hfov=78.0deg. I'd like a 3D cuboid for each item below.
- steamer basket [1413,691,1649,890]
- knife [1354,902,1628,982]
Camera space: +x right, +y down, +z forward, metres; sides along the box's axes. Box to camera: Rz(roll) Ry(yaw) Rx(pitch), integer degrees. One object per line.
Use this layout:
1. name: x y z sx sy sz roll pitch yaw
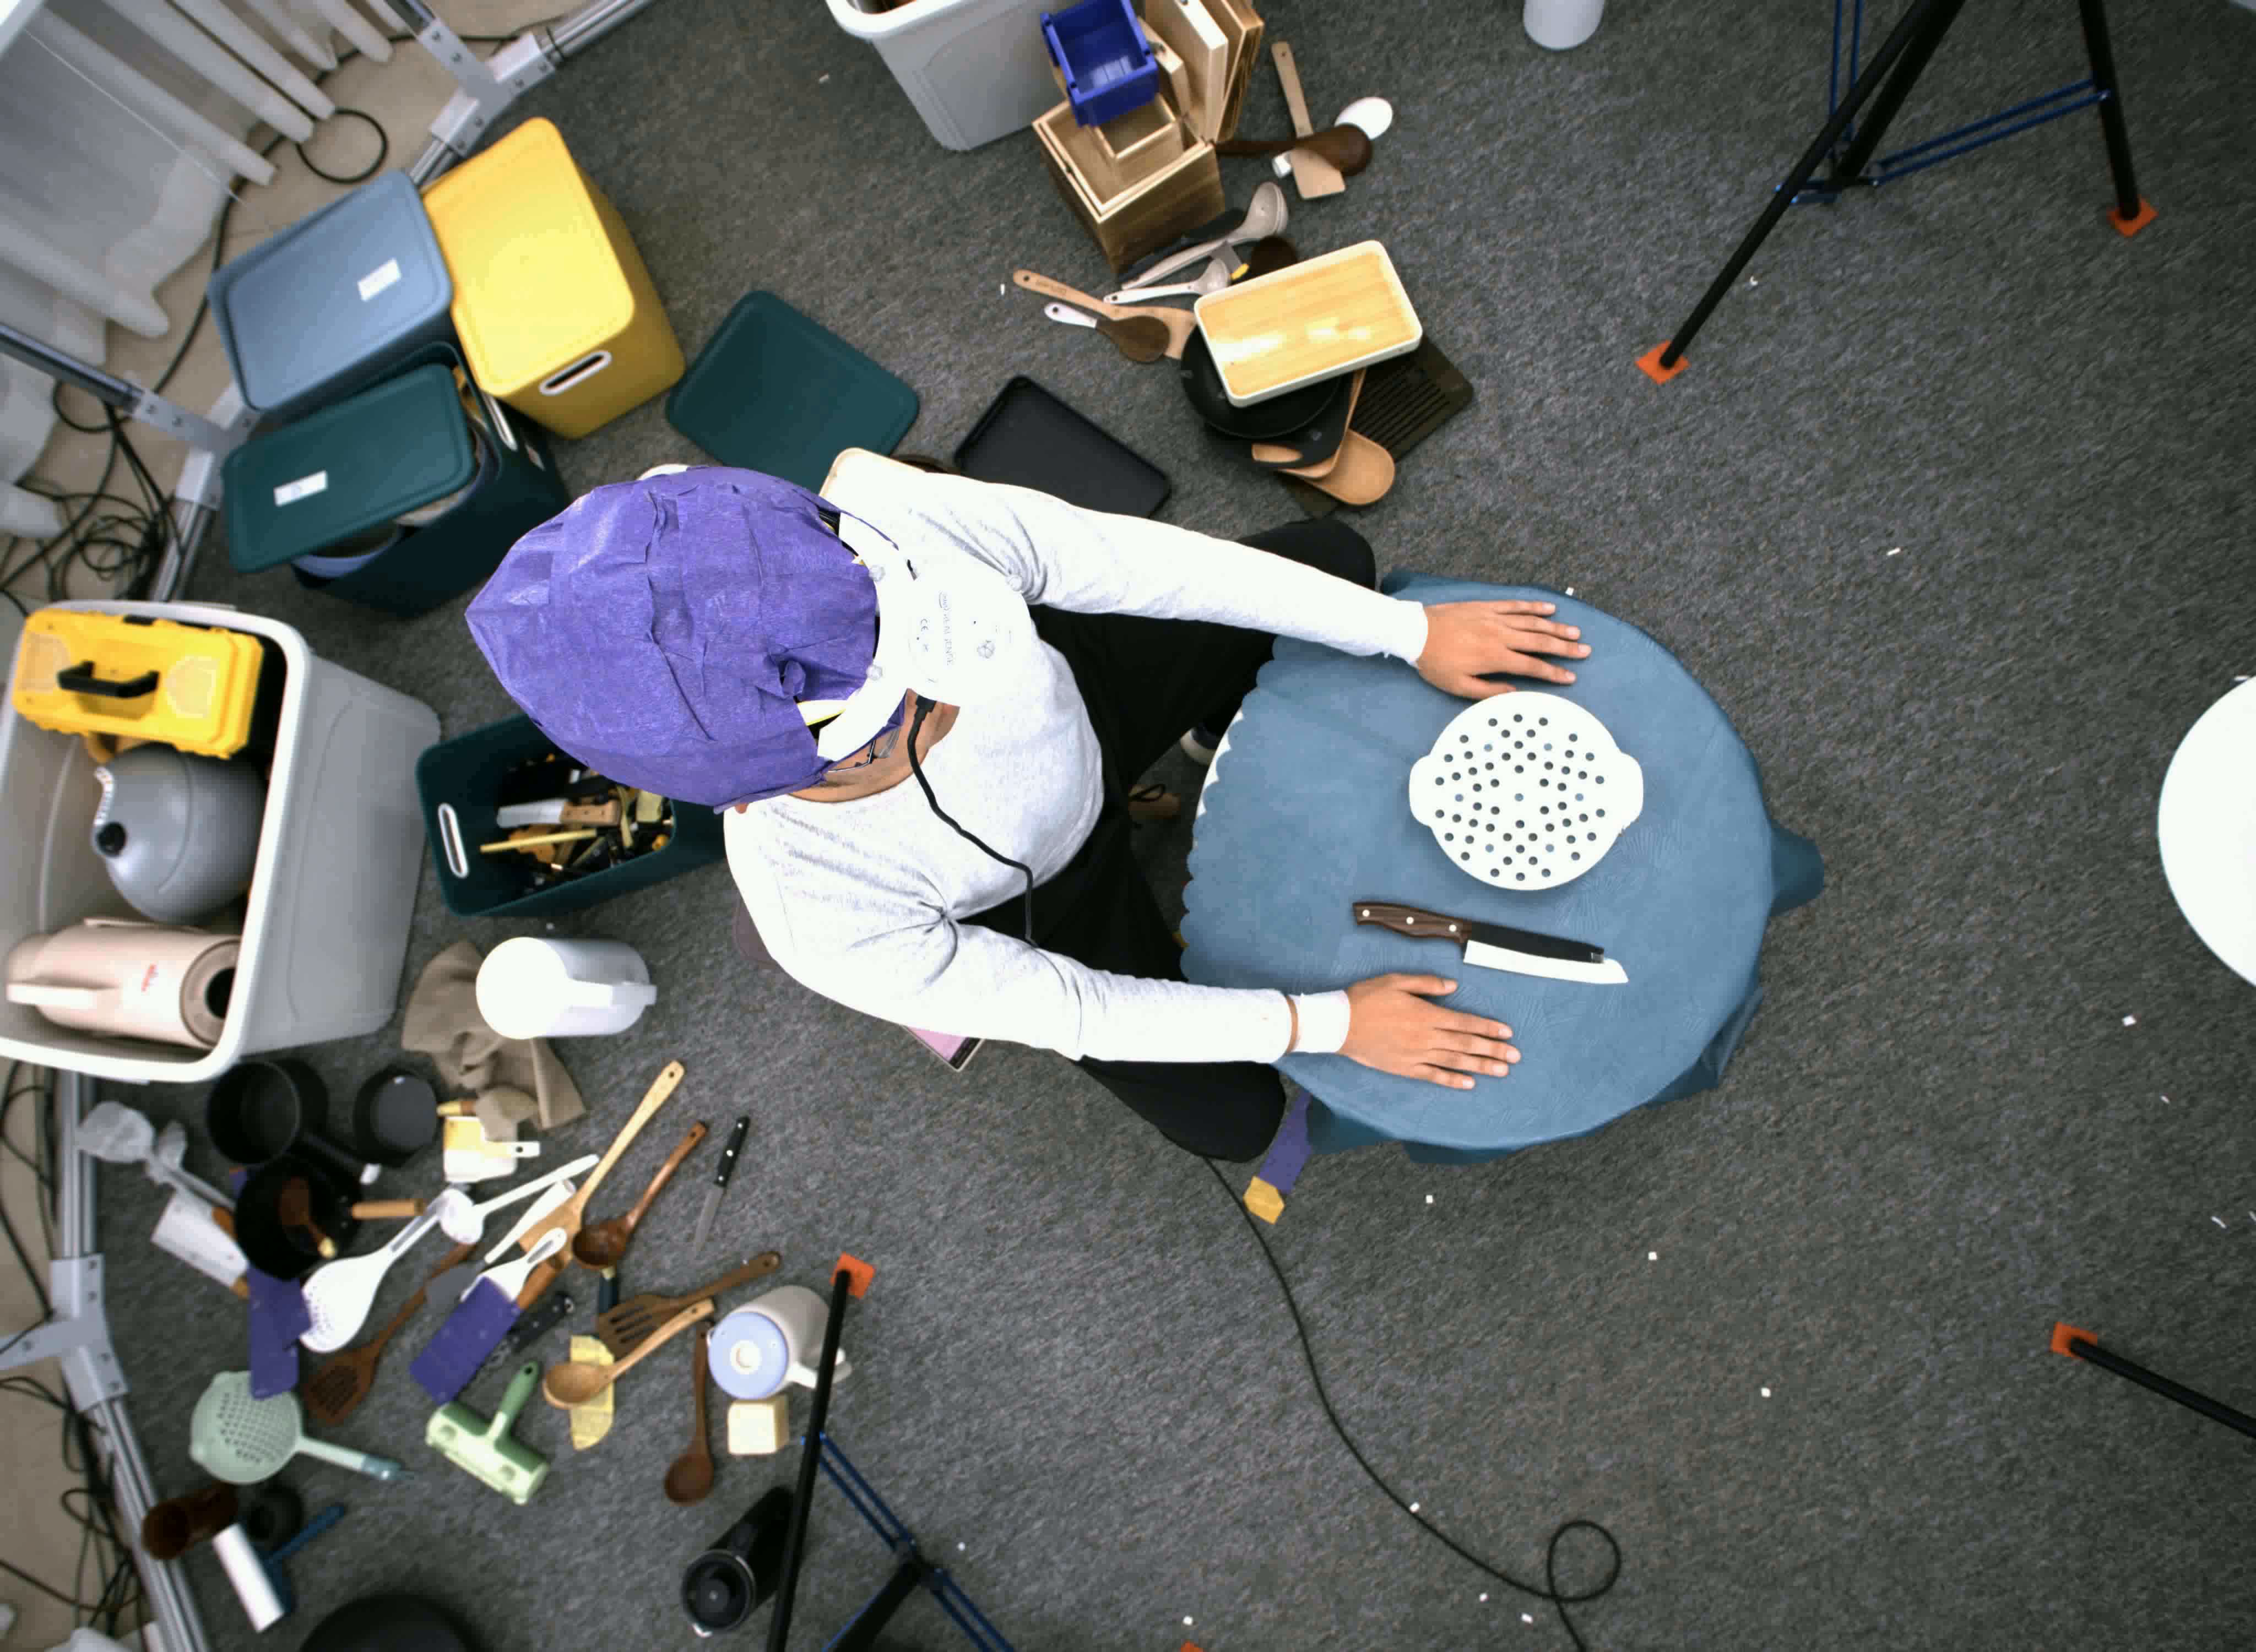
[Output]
1. steamer basket: 0.409 -0.036 1.406 0.231 0.069 0.201 0 86 12
2. knife: 0.375 0.119 1.430 0.289 0.020 0.050 13 94 9
